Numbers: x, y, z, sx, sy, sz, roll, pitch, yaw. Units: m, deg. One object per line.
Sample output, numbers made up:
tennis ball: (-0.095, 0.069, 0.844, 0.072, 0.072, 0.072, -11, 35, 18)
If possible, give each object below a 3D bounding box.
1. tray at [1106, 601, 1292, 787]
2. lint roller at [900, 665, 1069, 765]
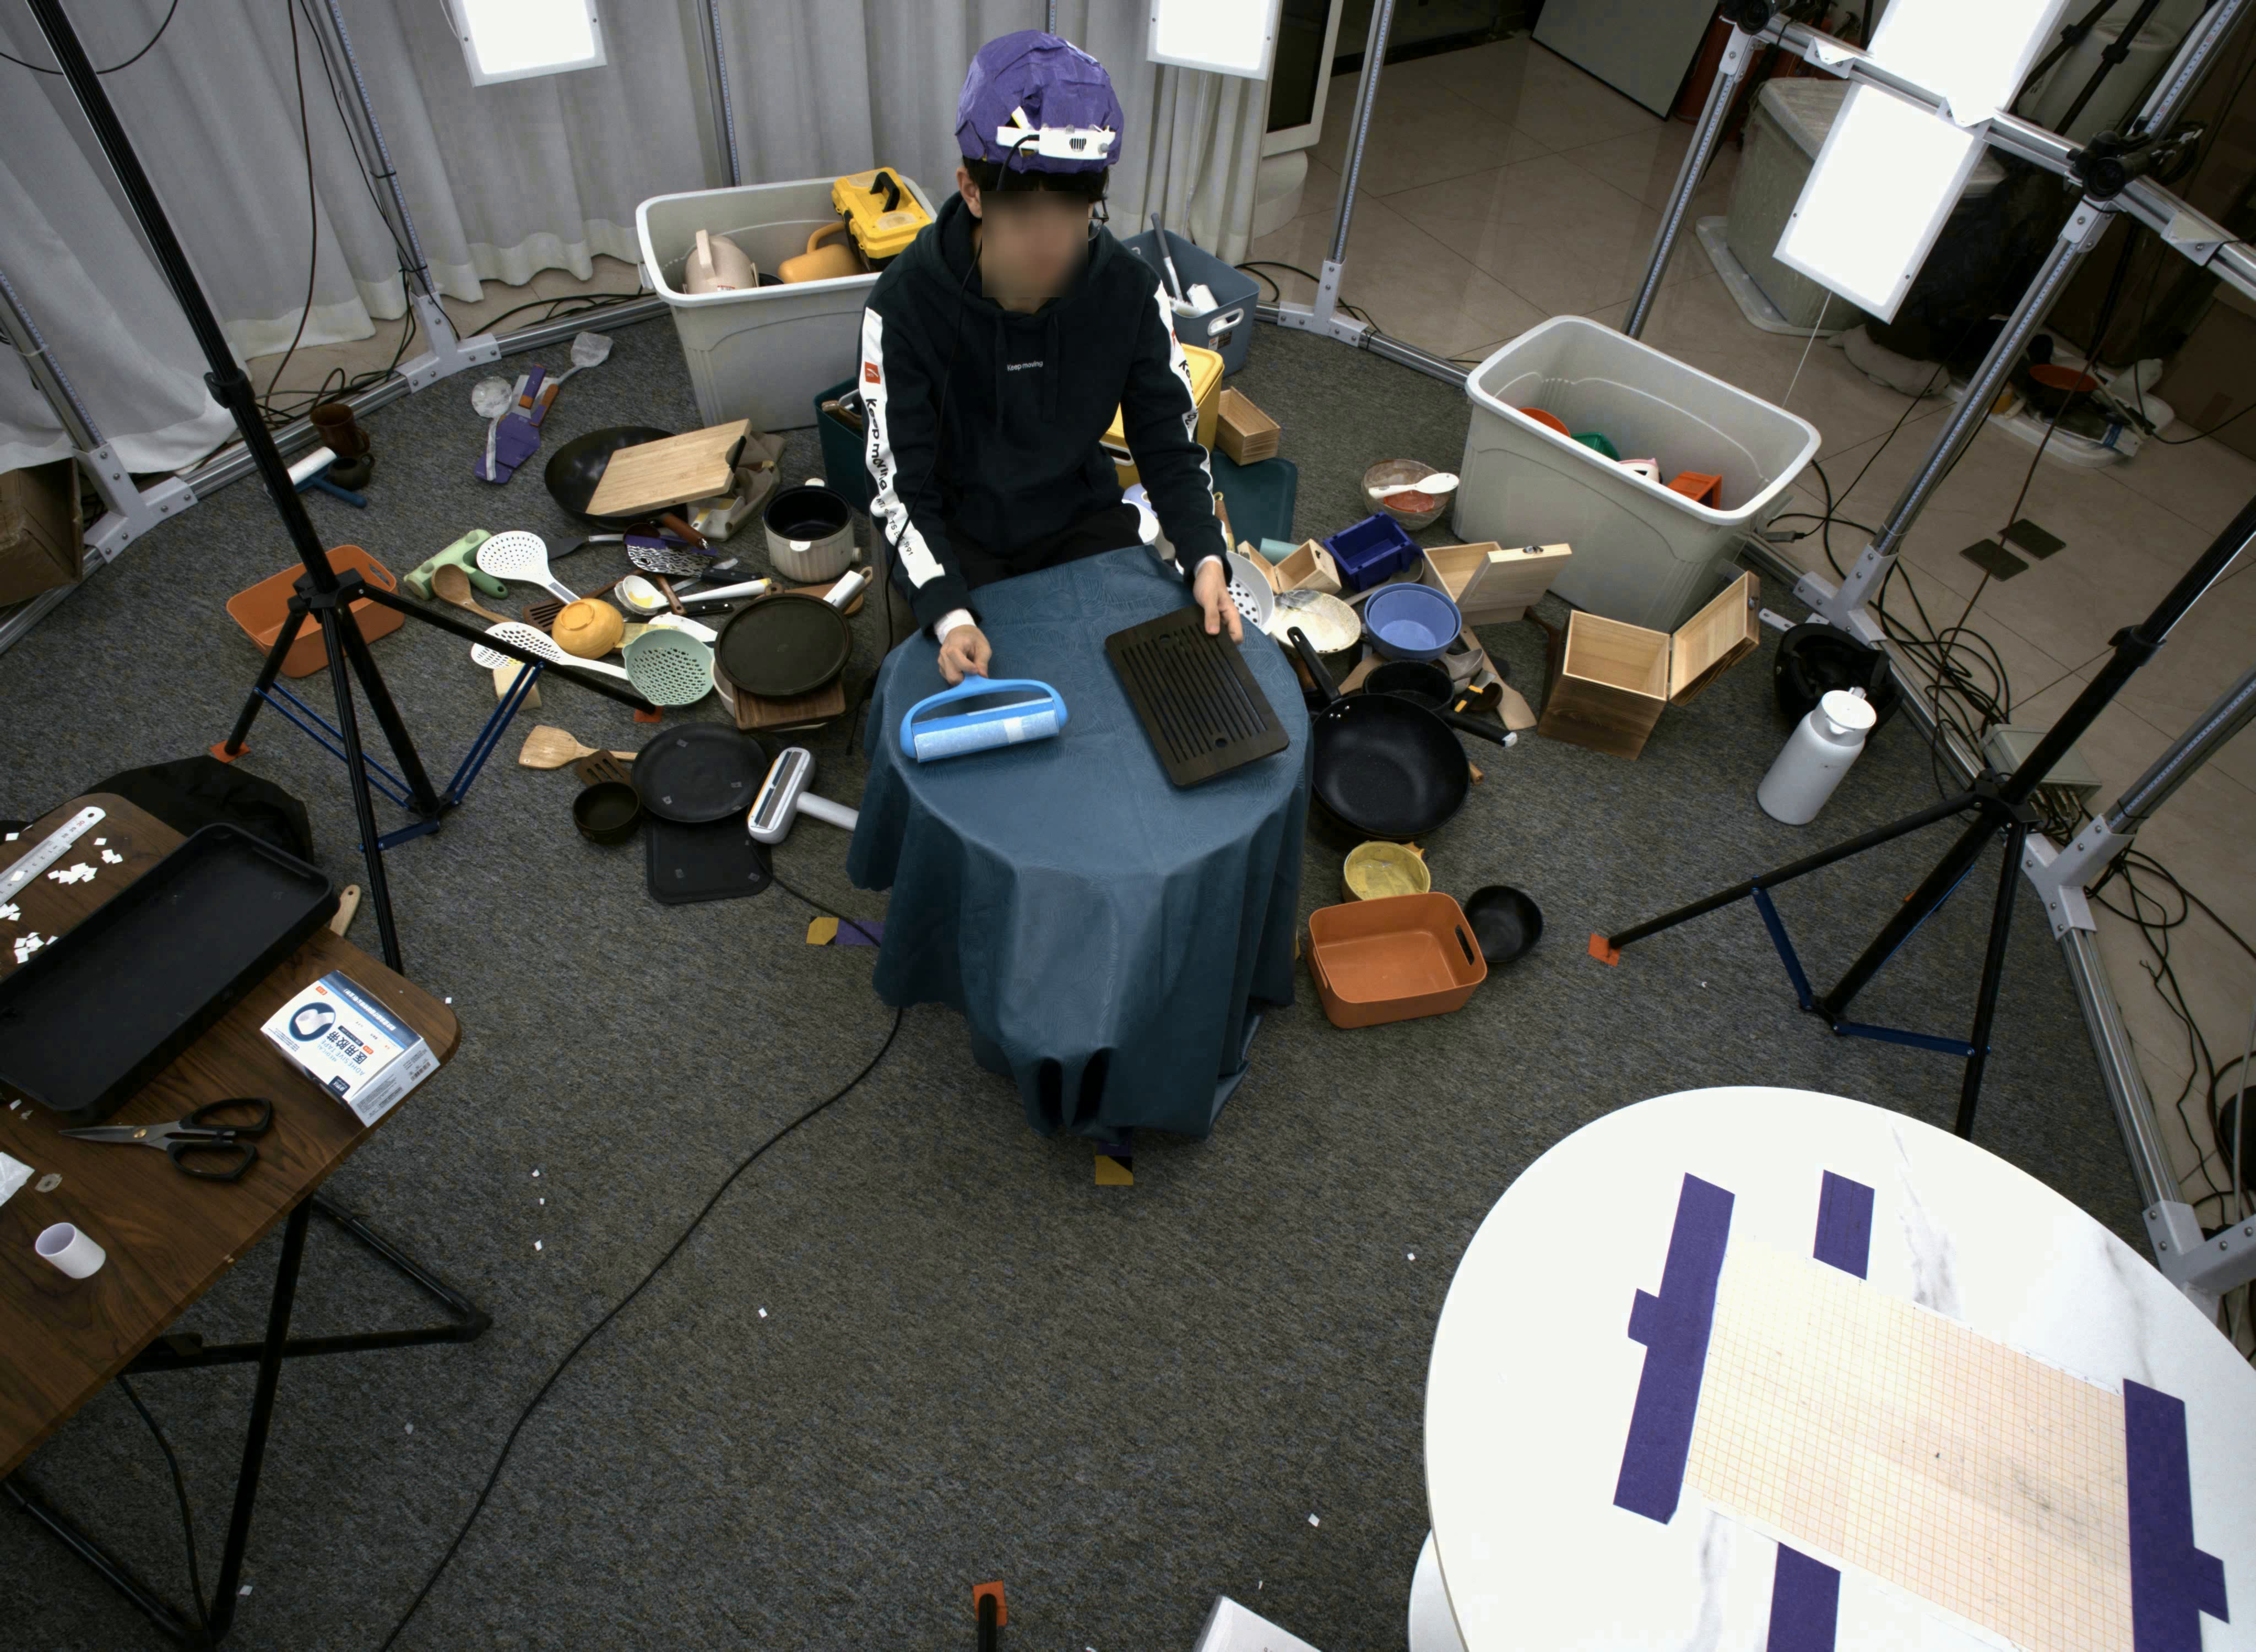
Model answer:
tray: (0.095, -0.190, 1.806, 0.170, 0.018, 0.313, -21, 52, -5)
lint roller: (-0.210, -0.174, 1.764, 0.229, 0.066, 0.184, -16, 52, -11)
